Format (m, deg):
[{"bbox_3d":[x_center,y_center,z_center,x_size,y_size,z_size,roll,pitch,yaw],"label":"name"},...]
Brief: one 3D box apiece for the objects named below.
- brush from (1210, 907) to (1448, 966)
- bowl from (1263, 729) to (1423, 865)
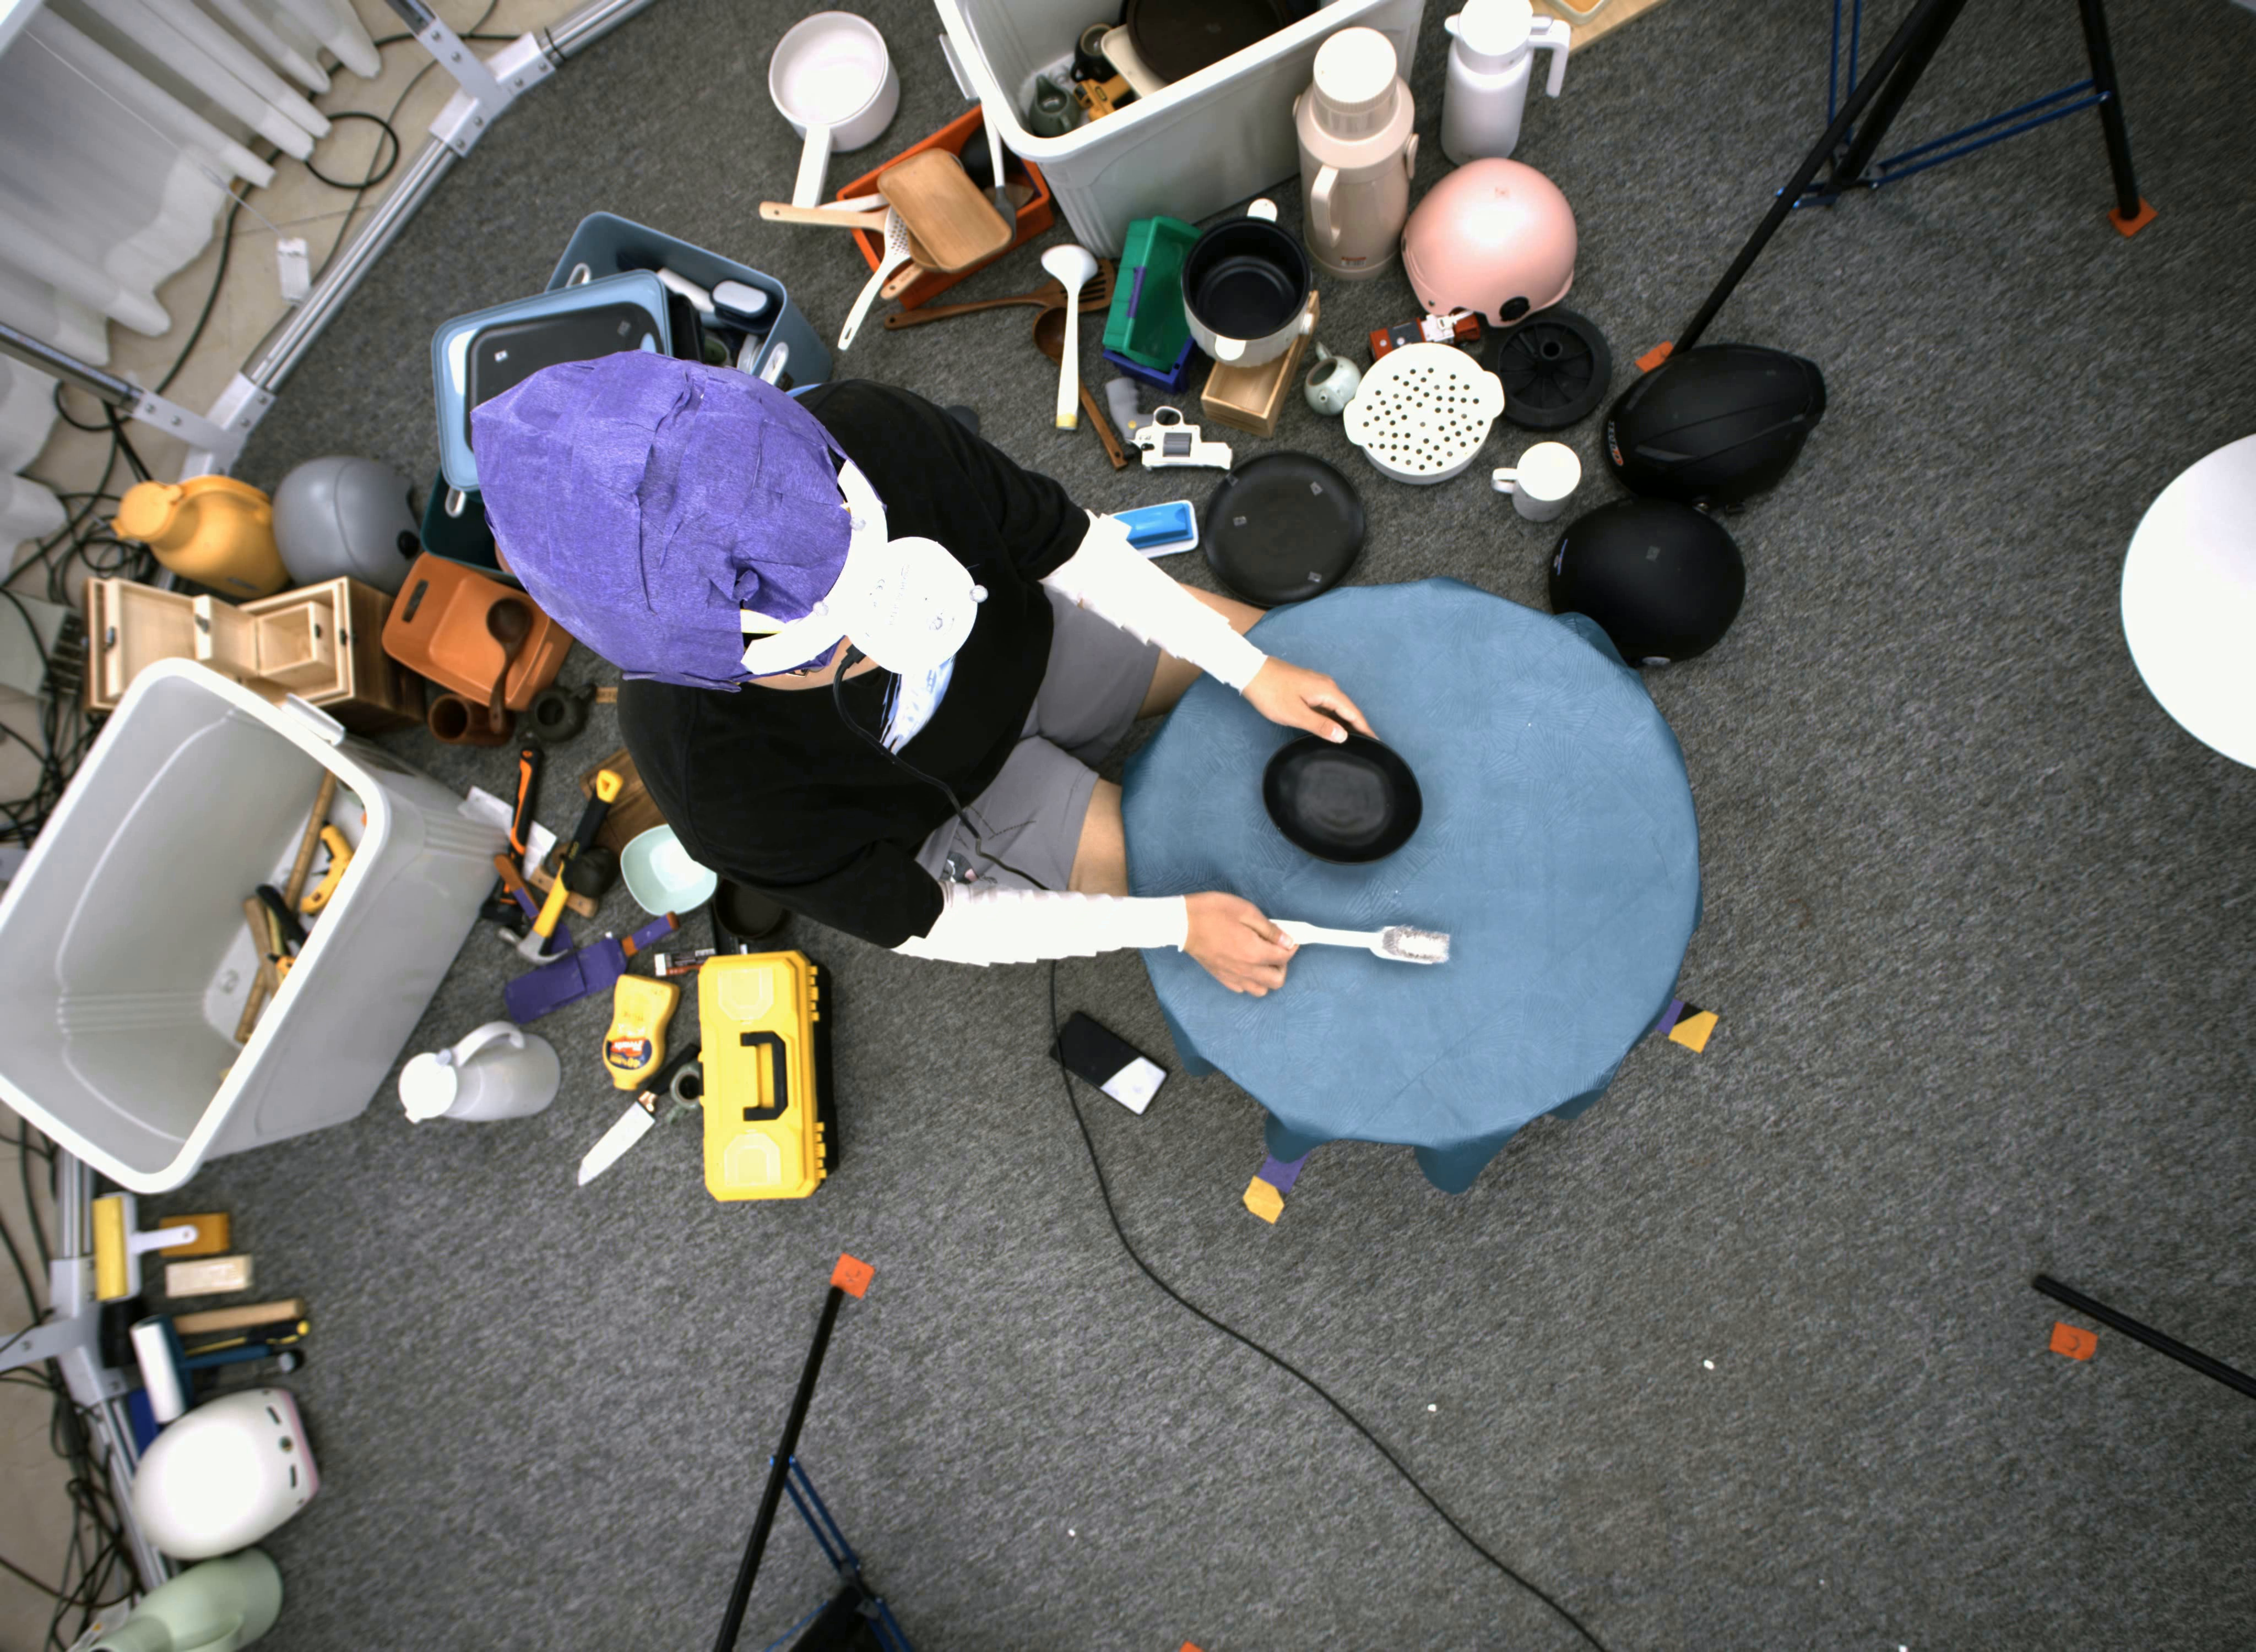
[{"bbox_3d":[0.207,0.110,1.423,0.244,0.050,0.034,9,83,2],"label":"brush"},{"bbox_3d":[0.223,-0.028,1.441,0.170,0.067,0.137,19,90,13],"label":"bowl"}]
